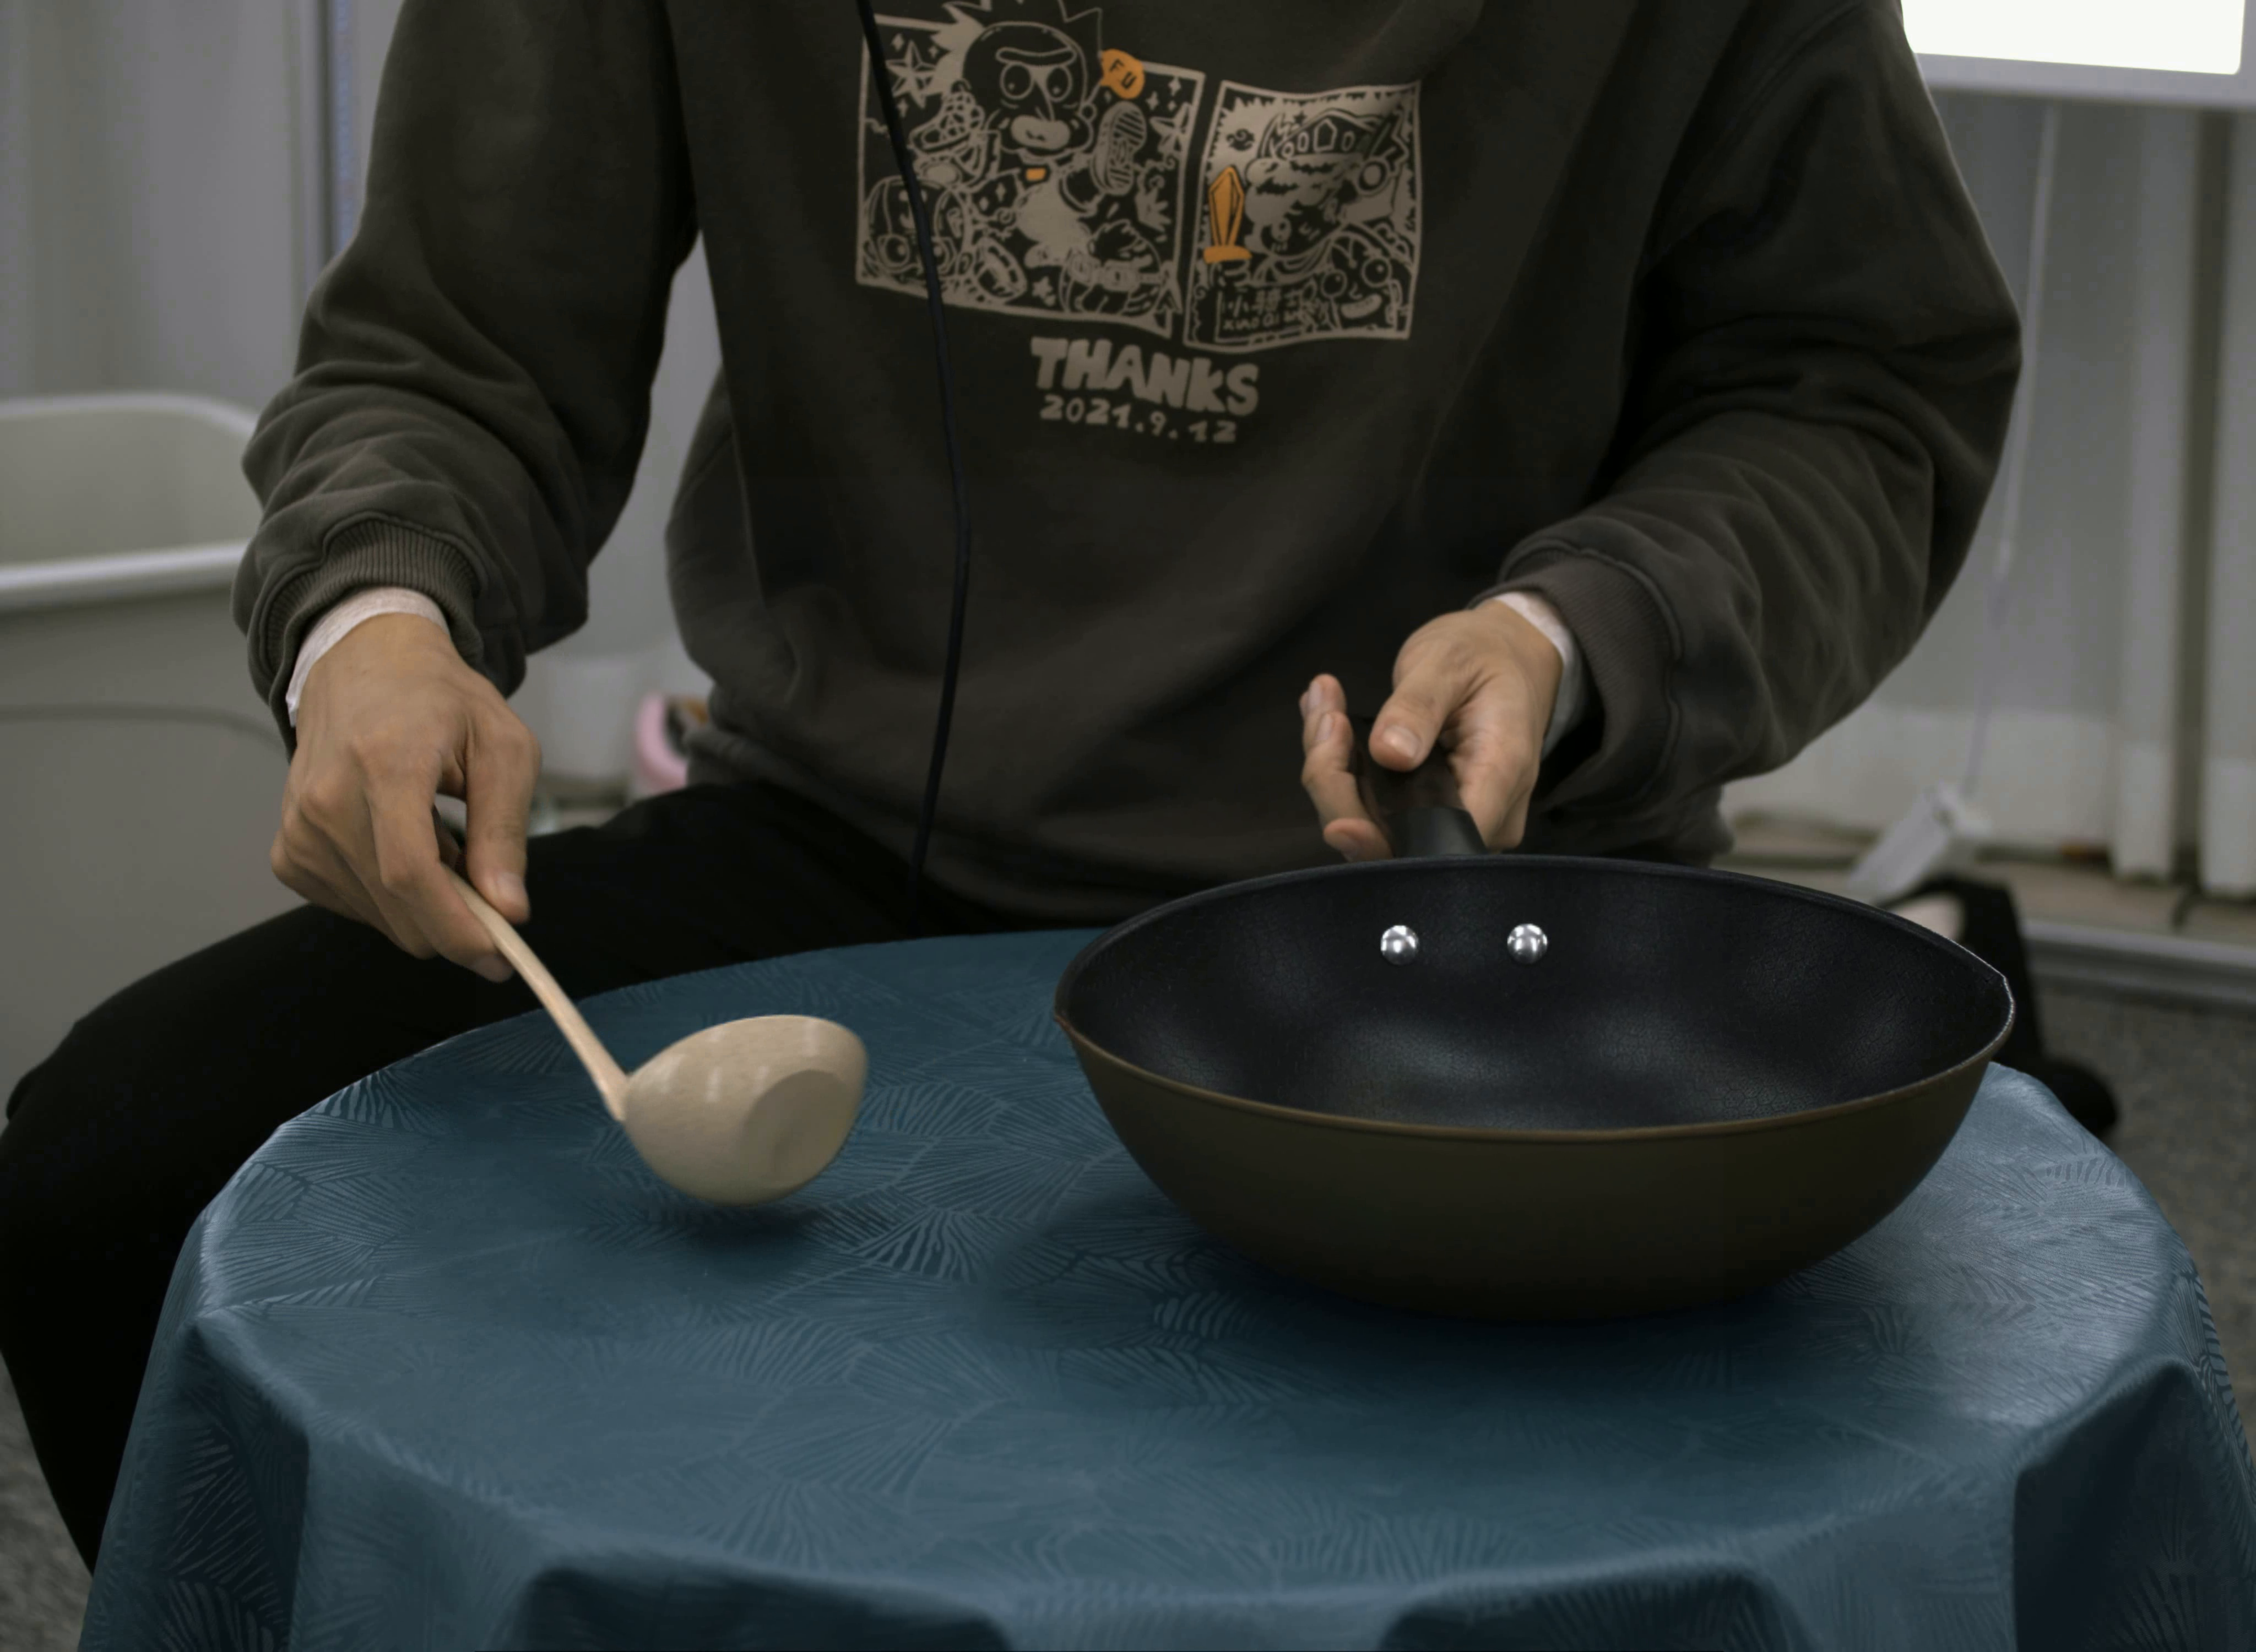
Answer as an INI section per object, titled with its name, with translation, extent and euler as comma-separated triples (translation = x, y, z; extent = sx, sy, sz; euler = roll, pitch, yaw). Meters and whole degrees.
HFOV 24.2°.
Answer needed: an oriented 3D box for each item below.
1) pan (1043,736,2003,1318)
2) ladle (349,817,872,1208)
[pan]
translation = 0.108, 0.061, 1.664
extent = 0.288, 0.087, 0.460
euler = -1, 15, -6
[ladle]
translation = -0.166, 0.032, 1.651
extent = 0.073, 0.073, 0.251
euler = 22, 15, -47
